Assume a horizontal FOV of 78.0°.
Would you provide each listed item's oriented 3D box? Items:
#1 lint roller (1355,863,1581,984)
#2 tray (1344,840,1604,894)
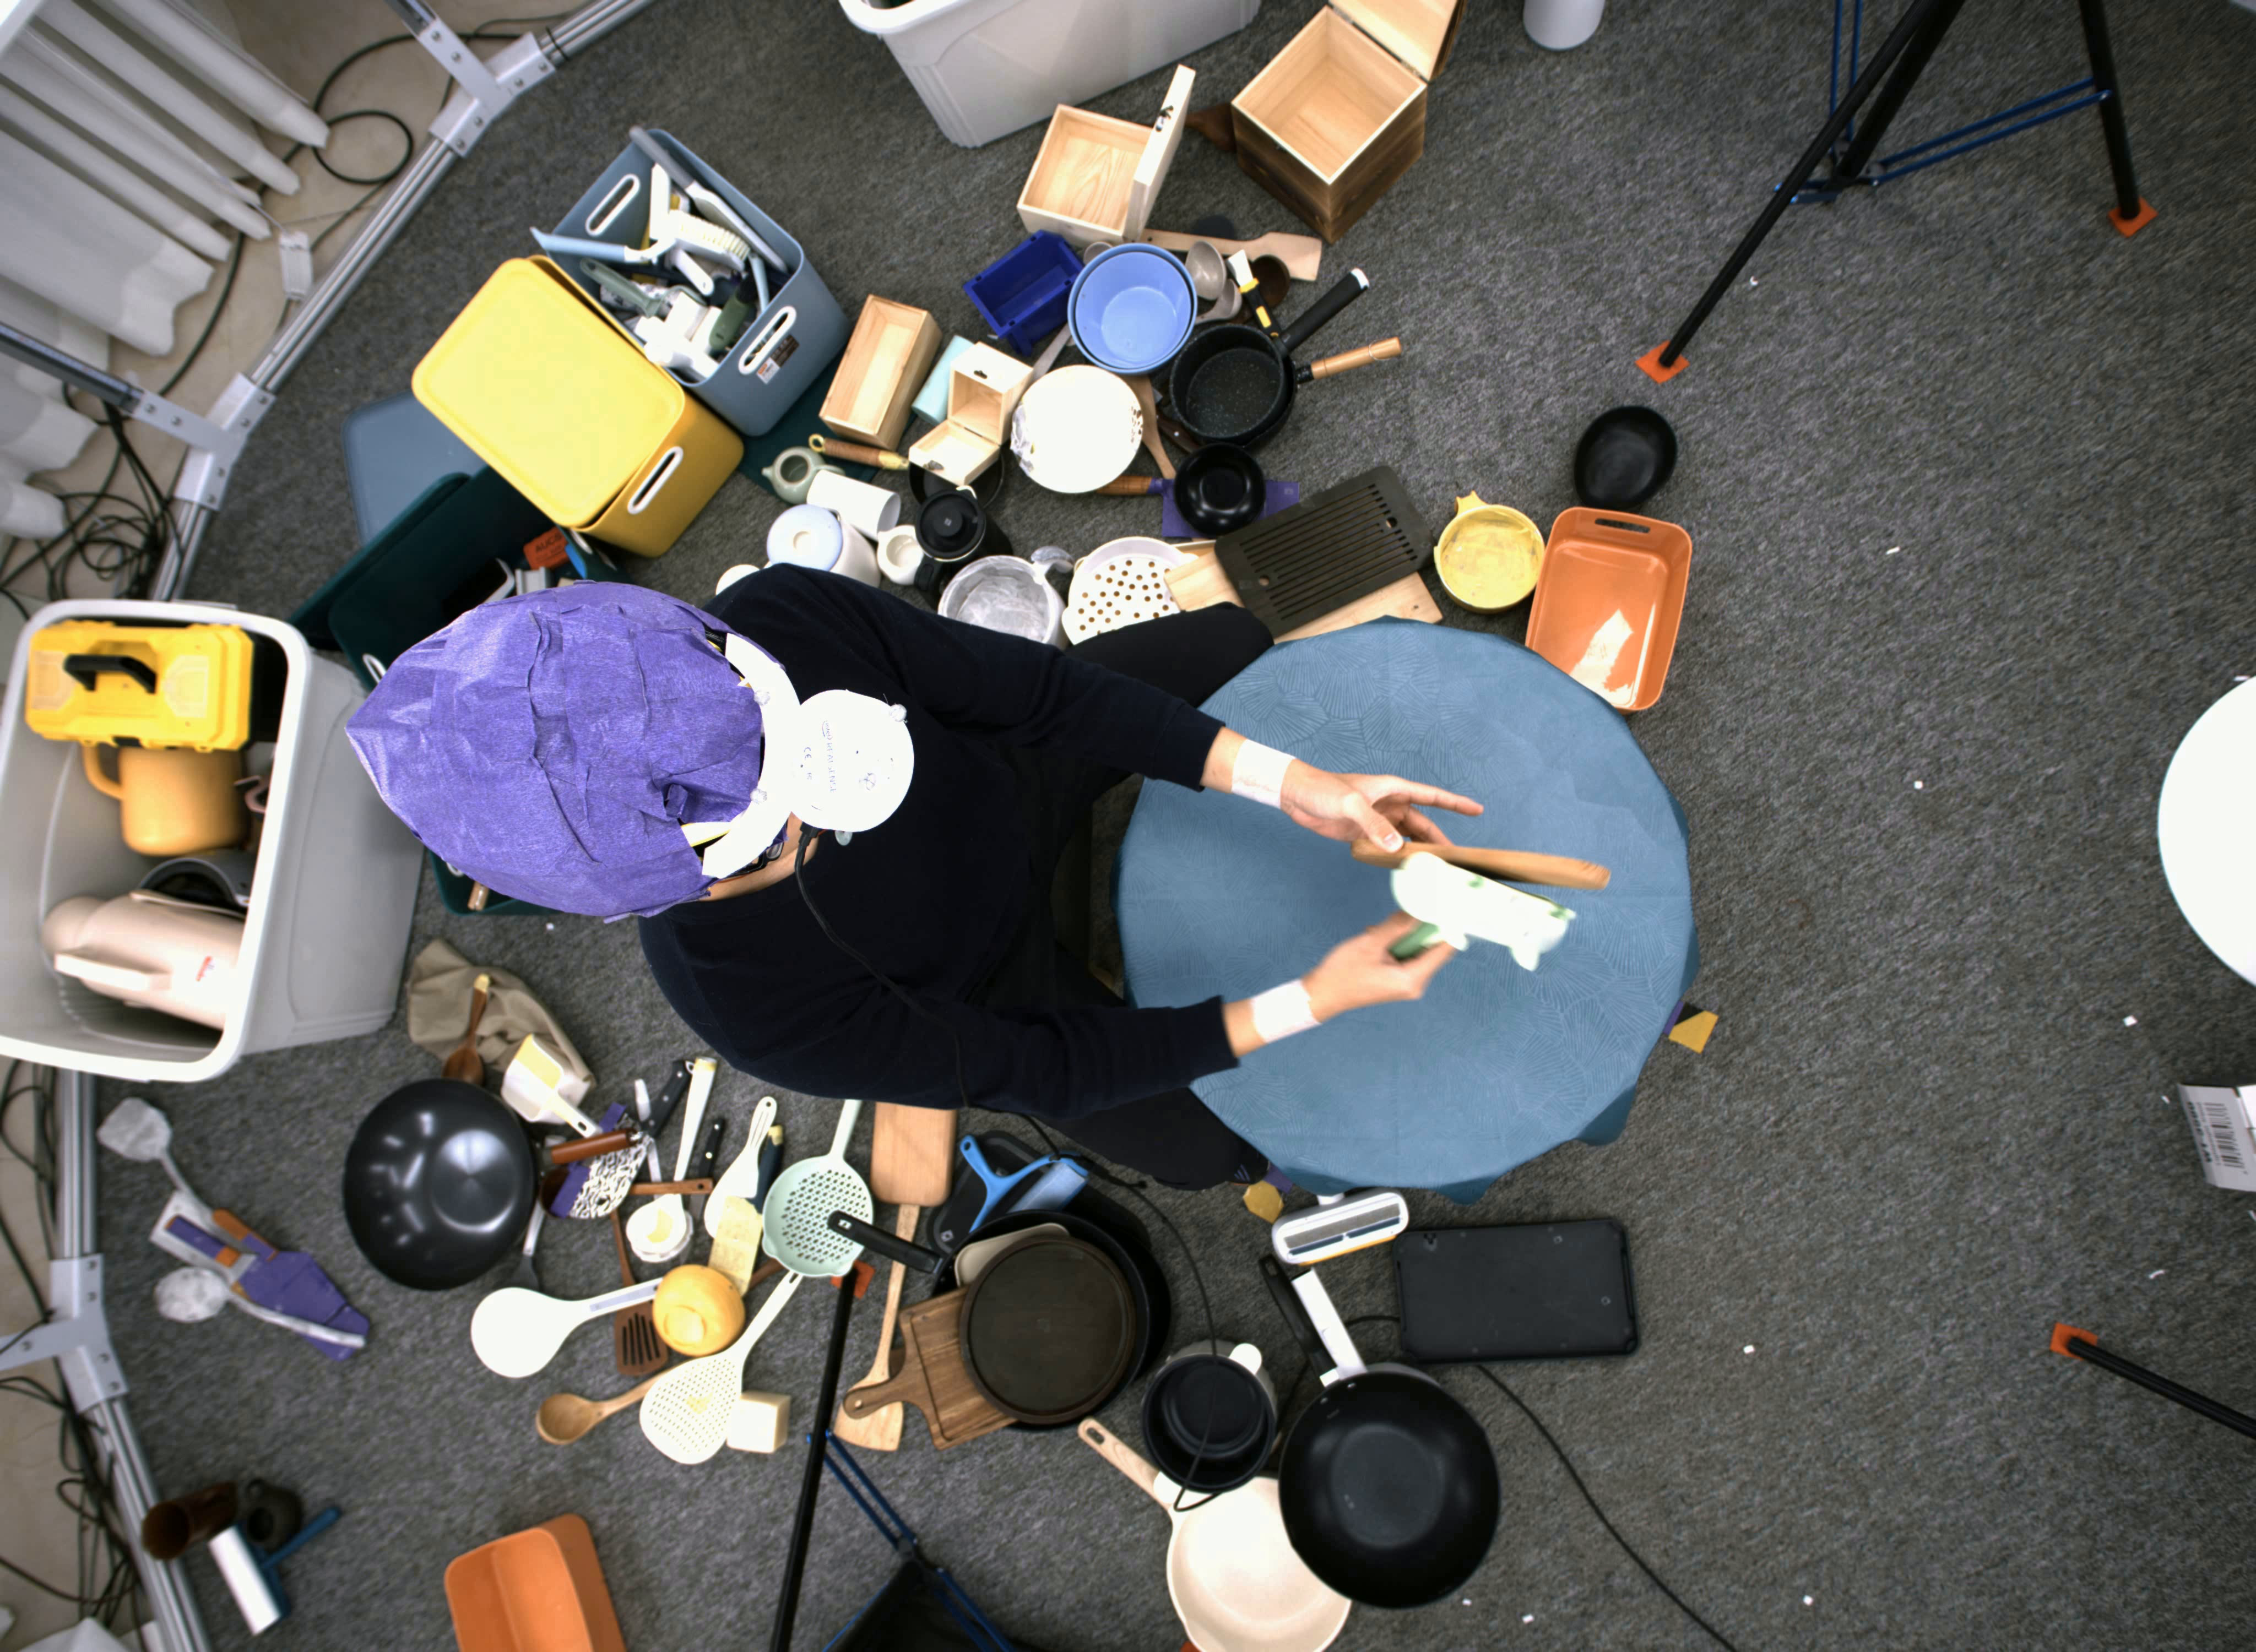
[{"bbox_3d":[0.280,0.110,1.210,0.187,0.198,0.080,-41,52,31],"label":"lint roller"},{"bbox_3d":[0.298,0.034,1.203,0.232,0.102,0.020,5,81,35],"label":"tray"}]
